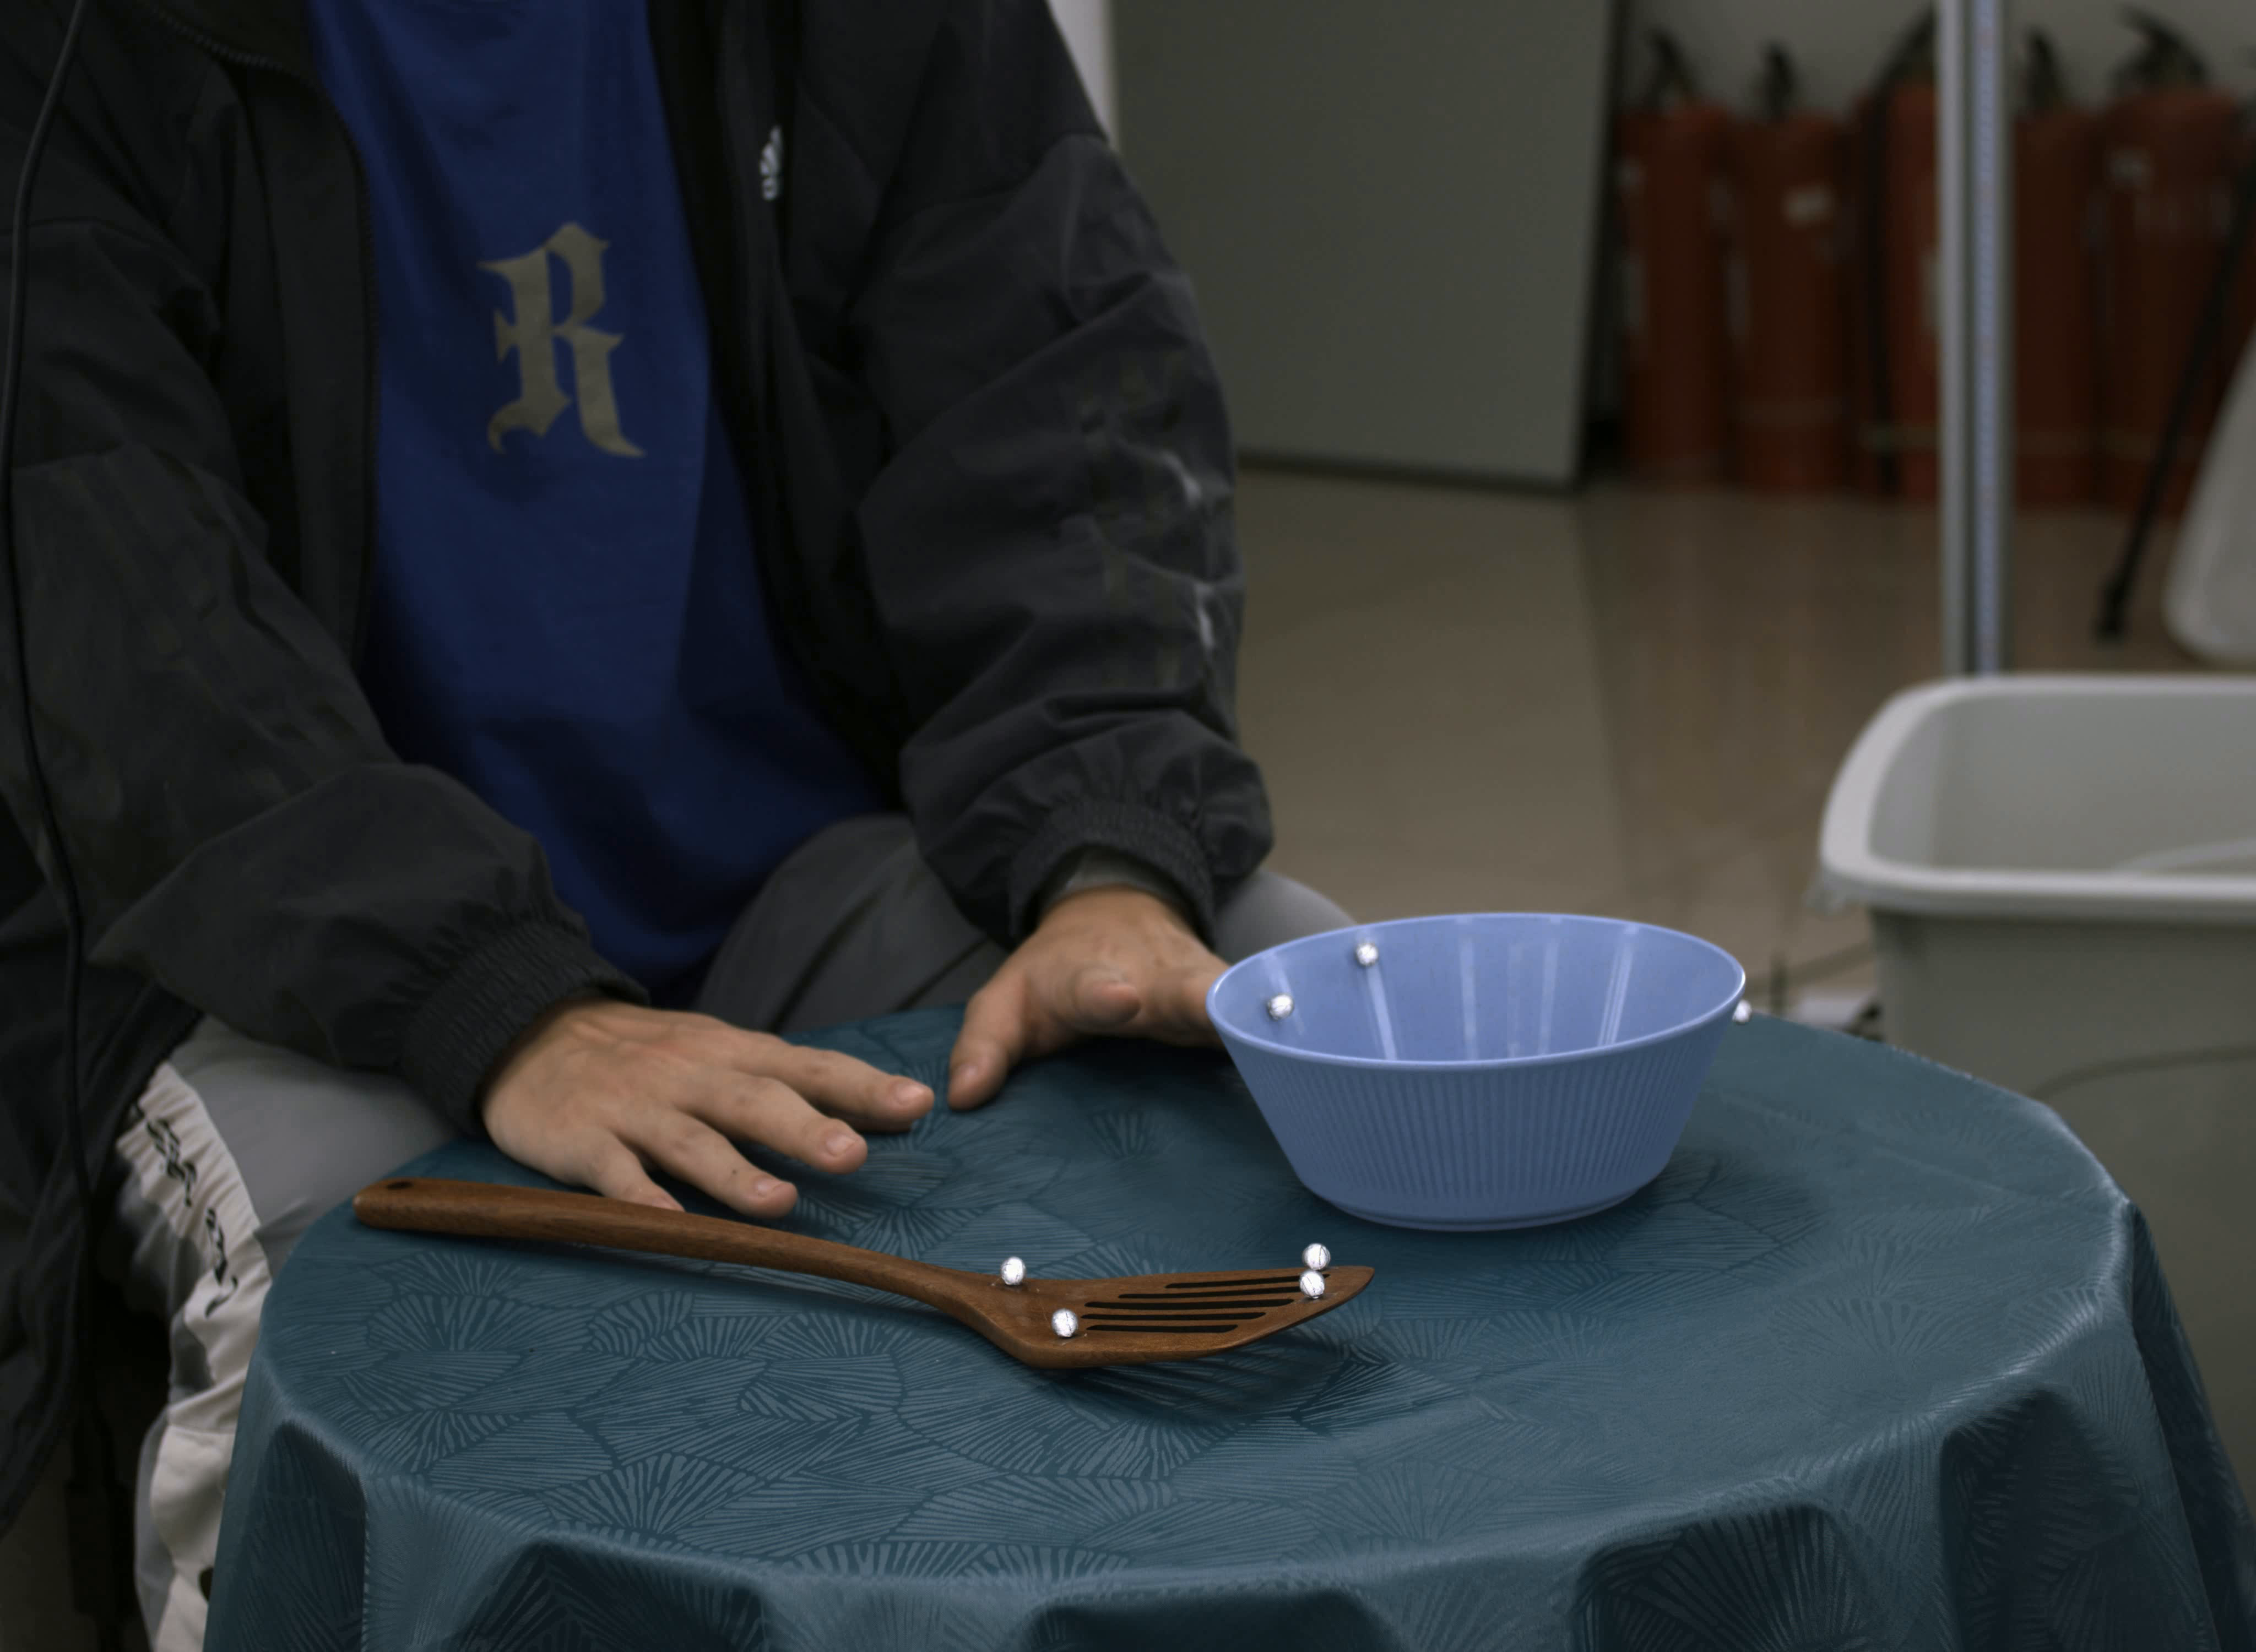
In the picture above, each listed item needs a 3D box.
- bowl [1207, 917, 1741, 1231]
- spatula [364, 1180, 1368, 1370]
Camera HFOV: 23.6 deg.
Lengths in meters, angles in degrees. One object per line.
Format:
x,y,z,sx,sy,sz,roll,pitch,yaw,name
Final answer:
0.114,0.082,1.747,0.174,0.071,0.176,-4,12,0,bowl
-0.096,0.138,1.688,0.389,0.024,0.084,5,15,37,spatula
